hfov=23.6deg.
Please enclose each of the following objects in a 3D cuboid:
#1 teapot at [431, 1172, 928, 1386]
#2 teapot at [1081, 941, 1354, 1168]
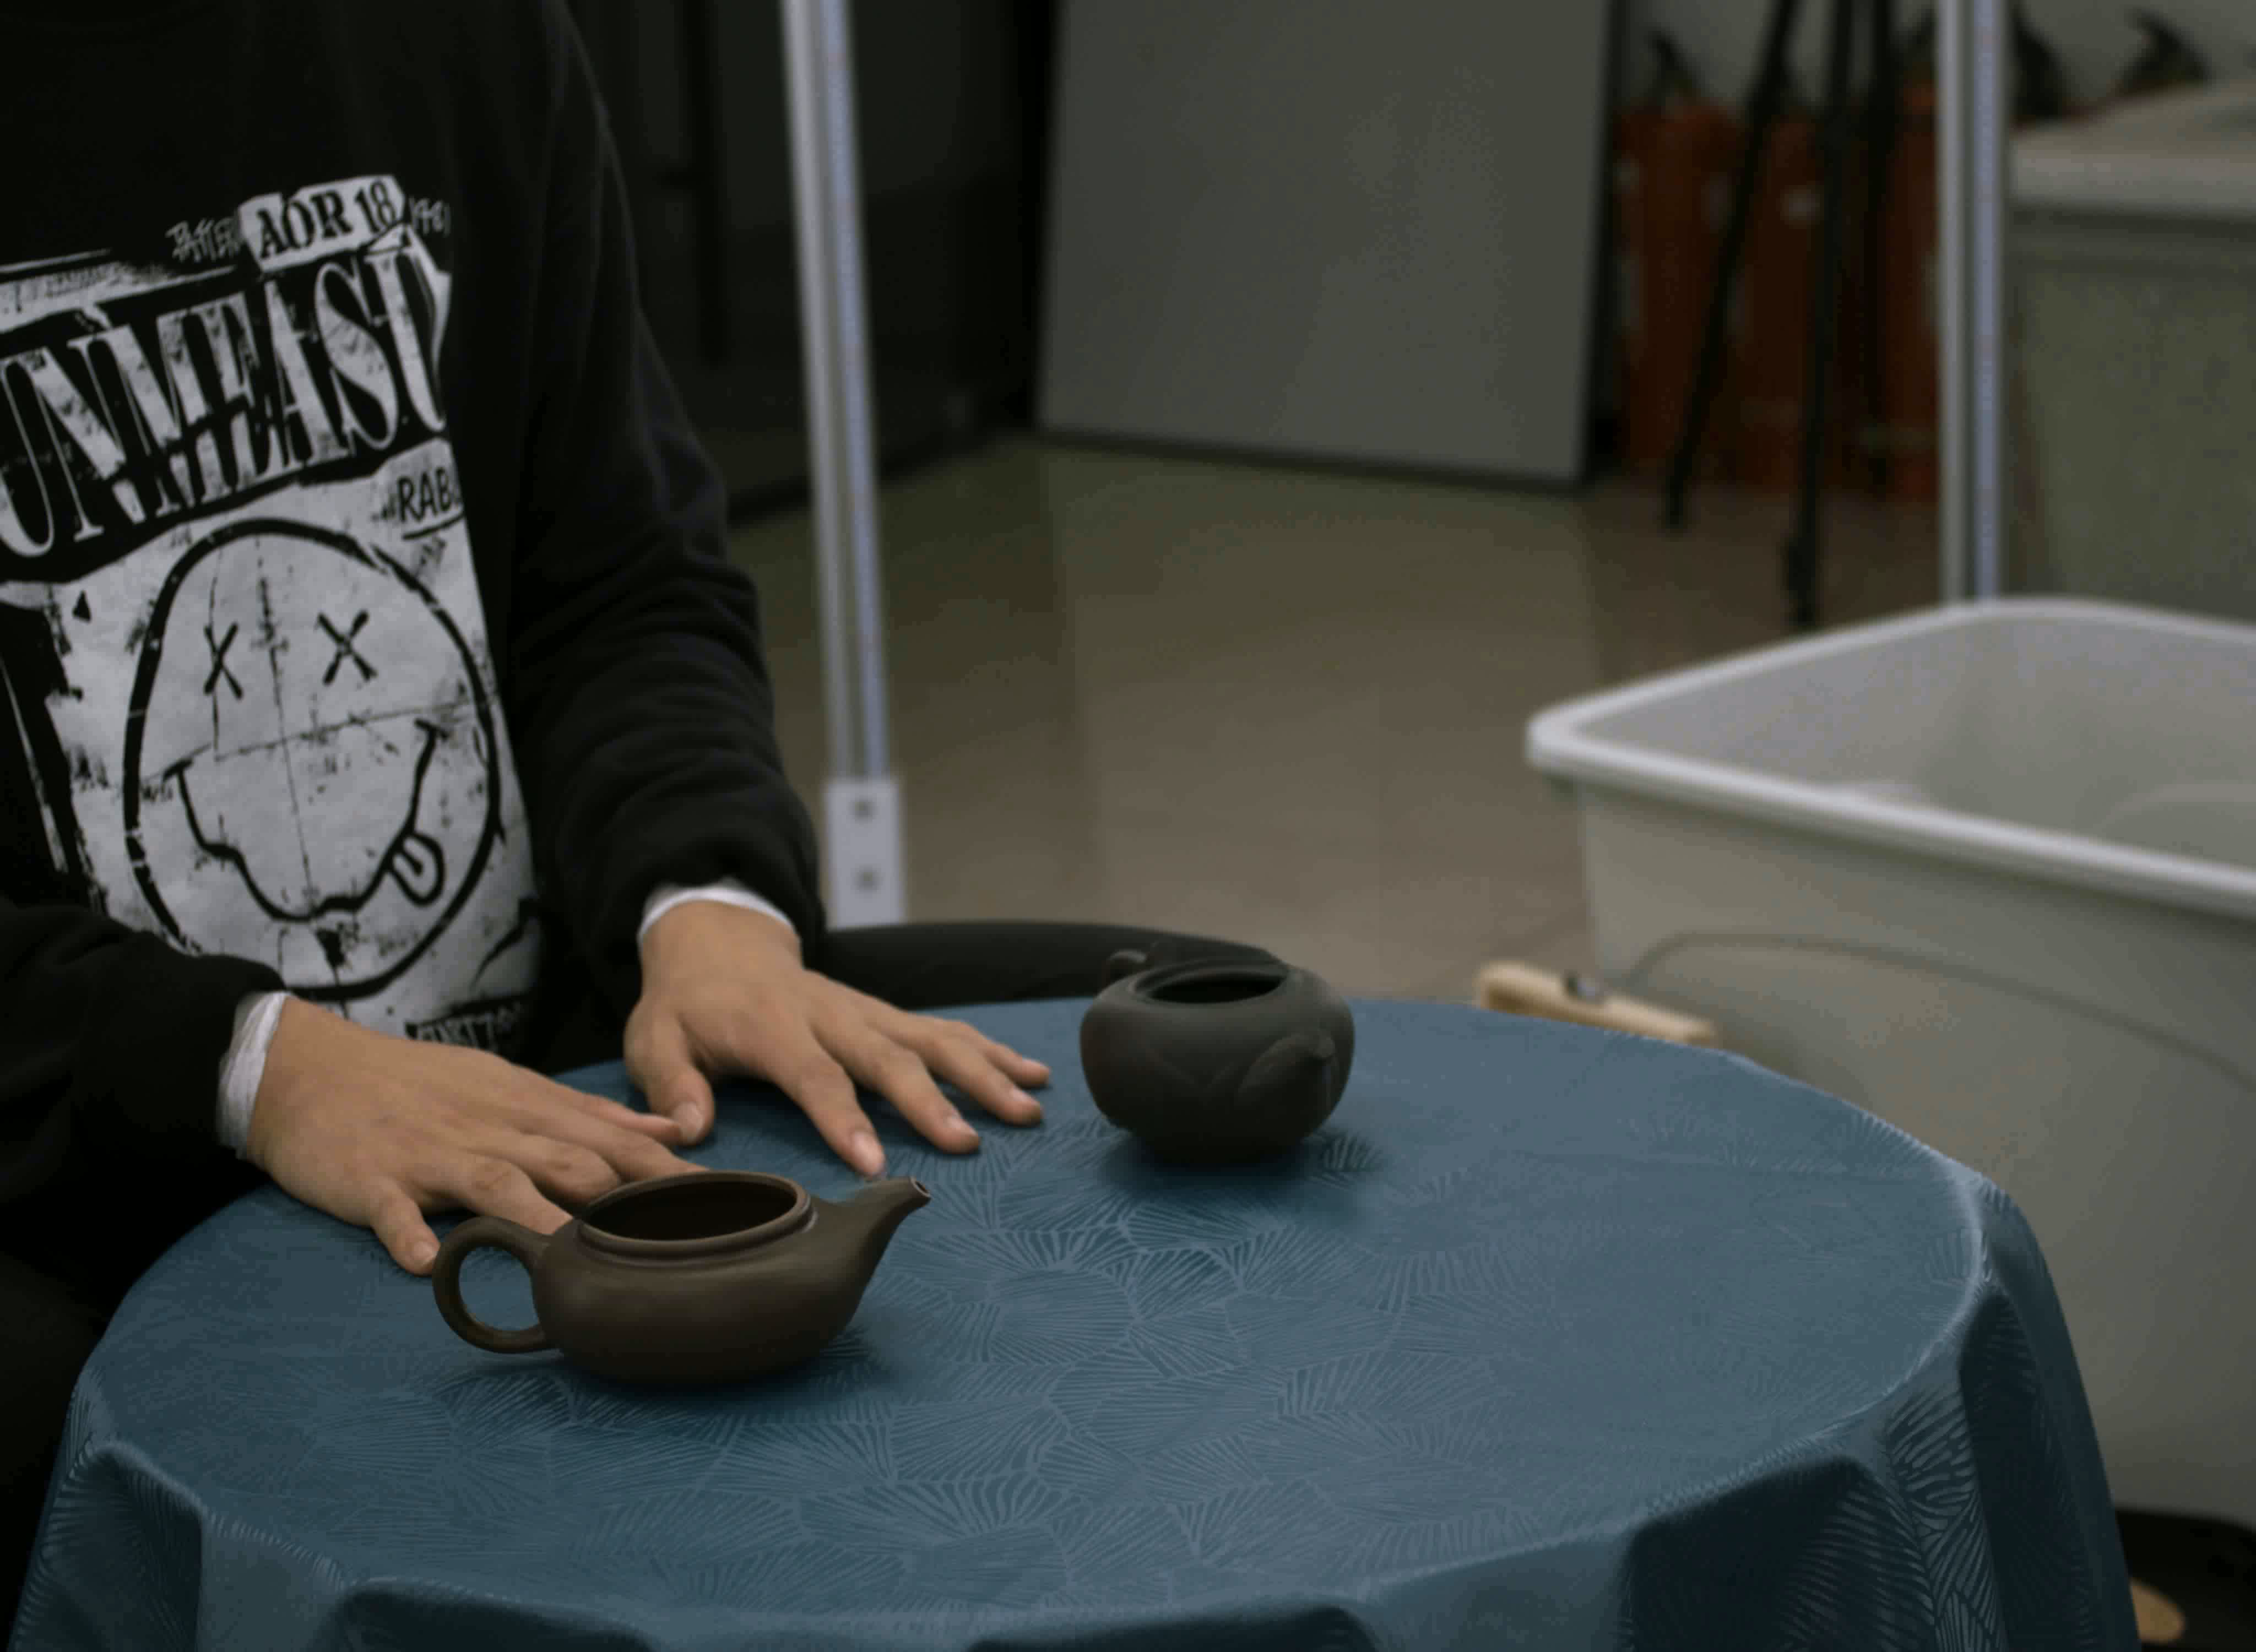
[{"bbox_3d":[-0.135,0.136,1.639,0.151,0.054,0.103,-4,11,-4],"label":"teapot"},{"bbox_3d":[0.029,0.077,1.810,0.090,0.065,0.156,-8,15,-25],"label":"teapot"}]
